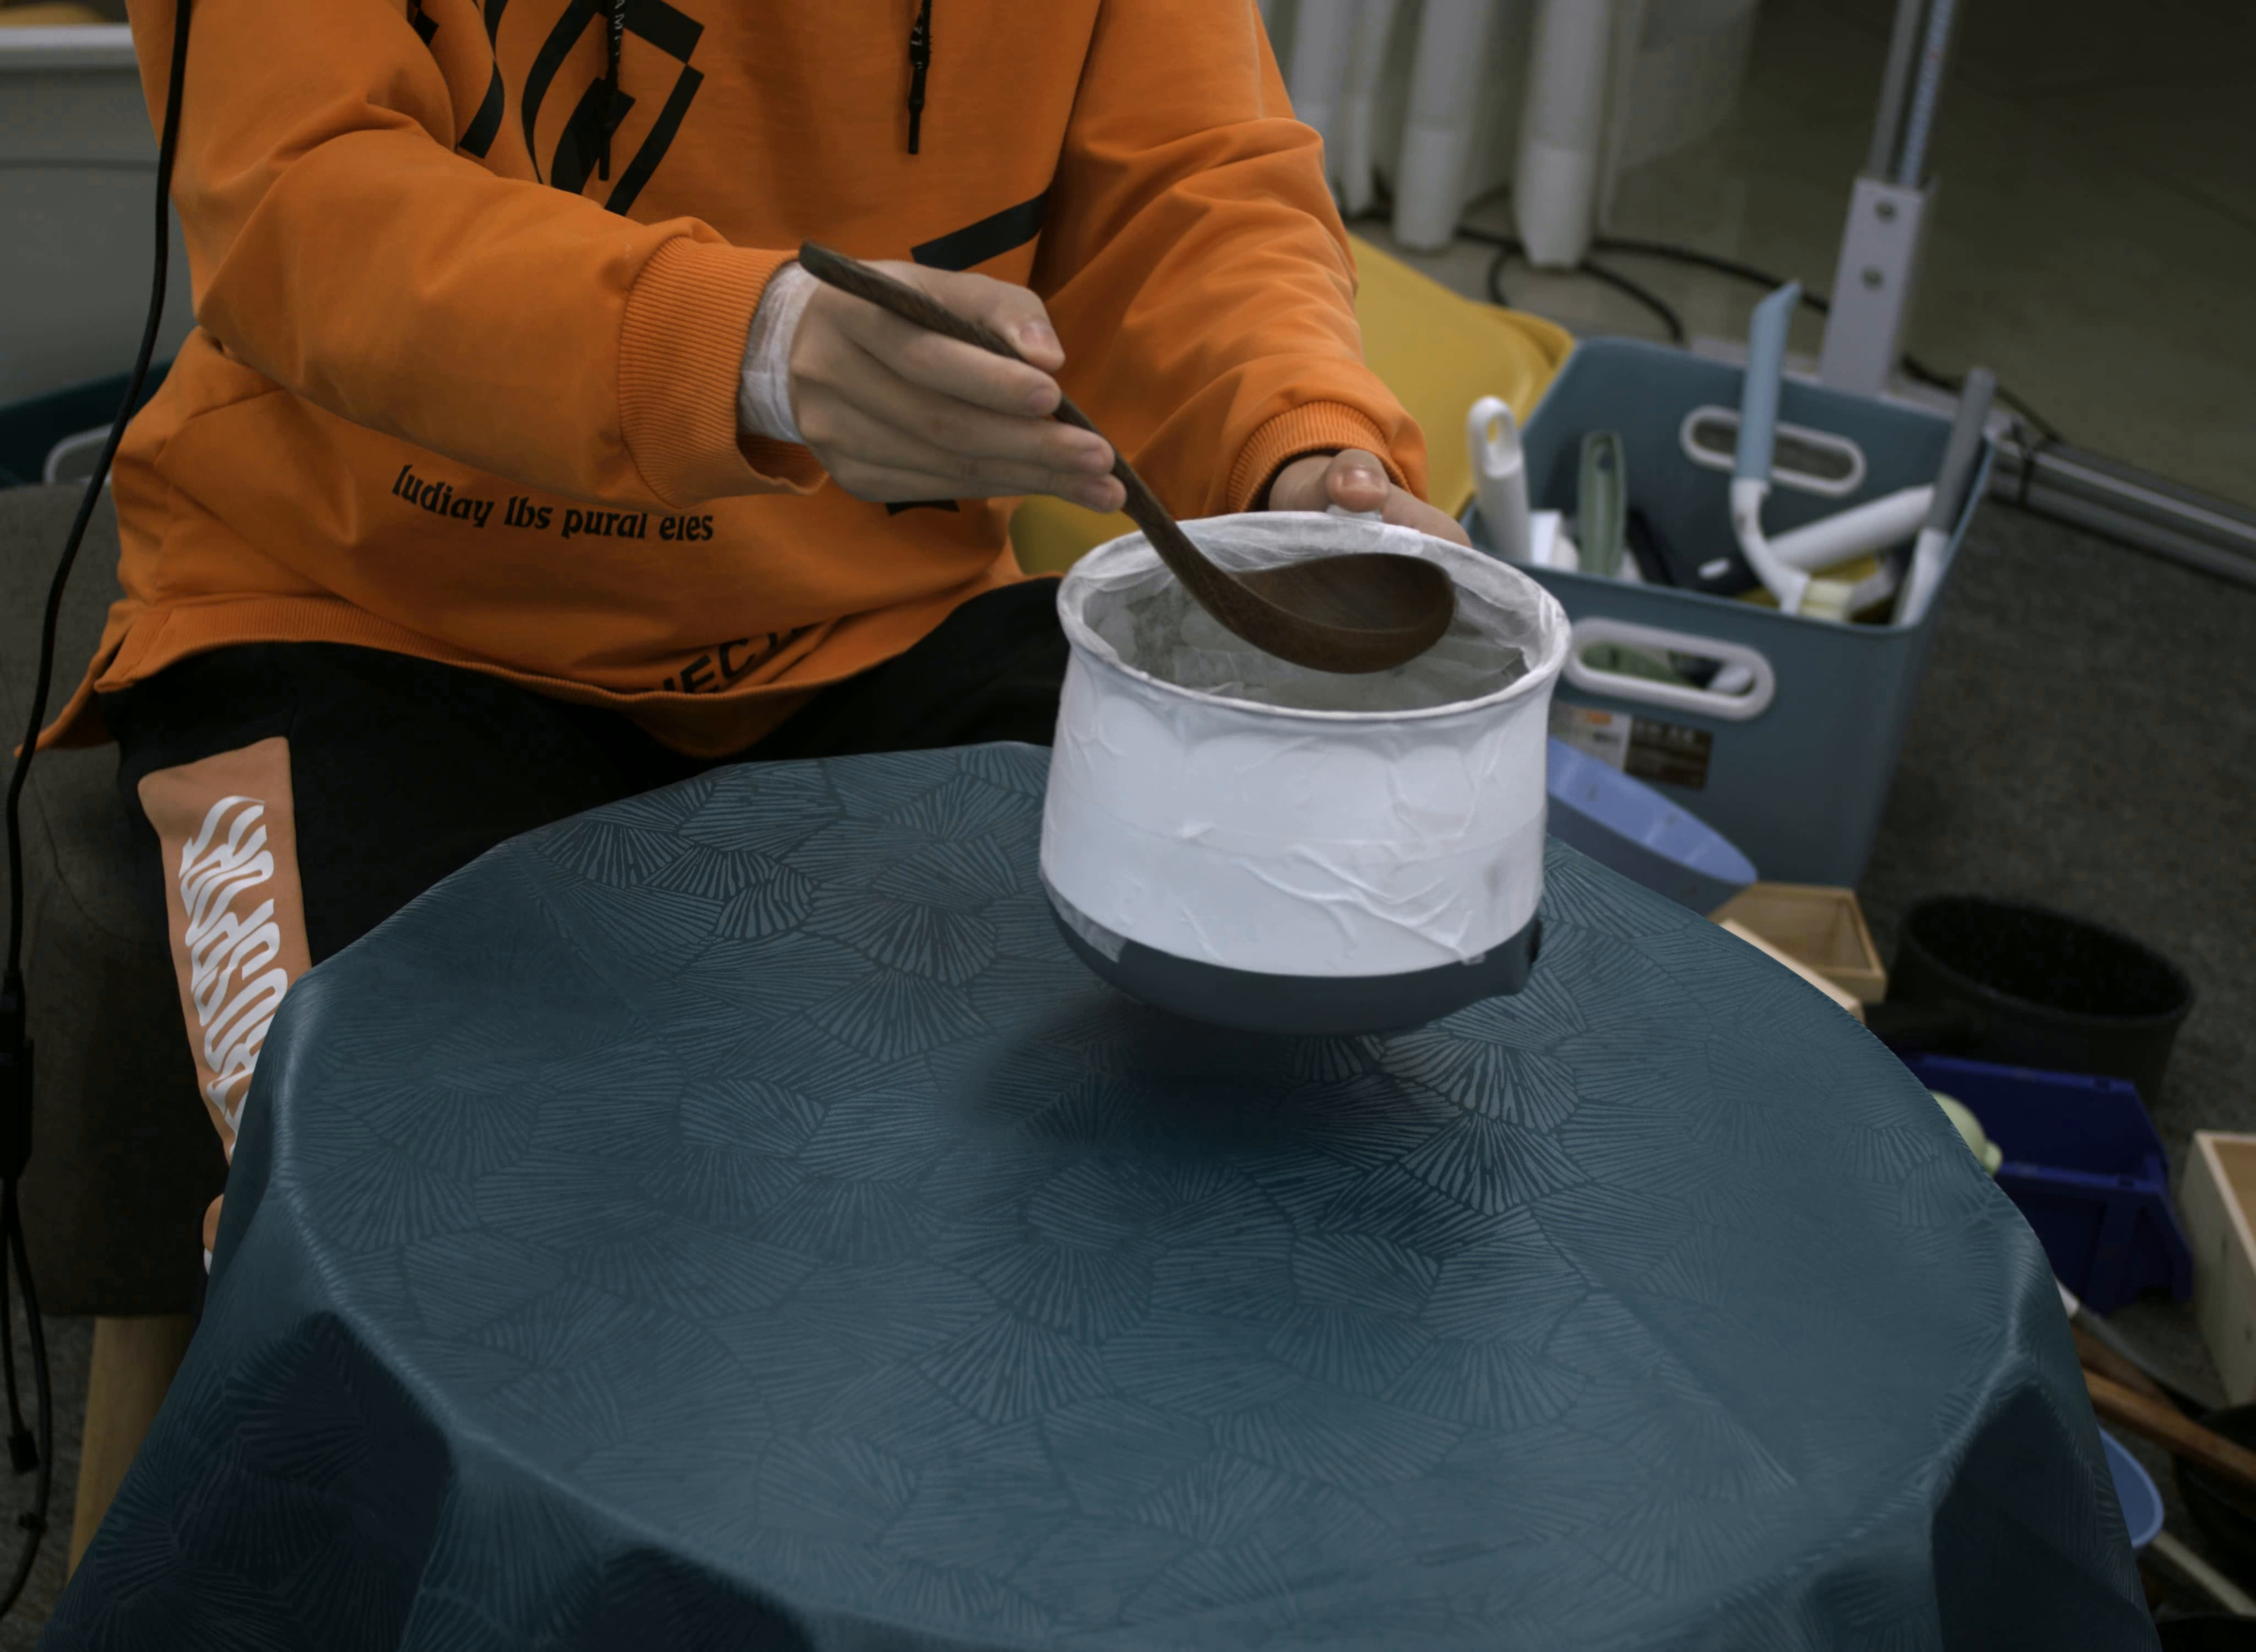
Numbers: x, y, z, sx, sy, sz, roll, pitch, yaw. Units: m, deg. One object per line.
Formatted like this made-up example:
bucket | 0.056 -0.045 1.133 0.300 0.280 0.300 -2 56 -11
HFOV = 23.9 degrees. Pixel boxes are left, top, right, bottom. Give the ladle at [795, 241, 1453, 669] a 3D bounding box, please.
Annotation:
ladle | 0.004 -0.137 1.790 0.272 0.071 0.076 40 -4 -31

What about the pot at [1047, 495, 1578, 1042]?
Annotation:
pot | 0.065 -0.027 1.870 0.178 0.136 0.234 7 25 6
